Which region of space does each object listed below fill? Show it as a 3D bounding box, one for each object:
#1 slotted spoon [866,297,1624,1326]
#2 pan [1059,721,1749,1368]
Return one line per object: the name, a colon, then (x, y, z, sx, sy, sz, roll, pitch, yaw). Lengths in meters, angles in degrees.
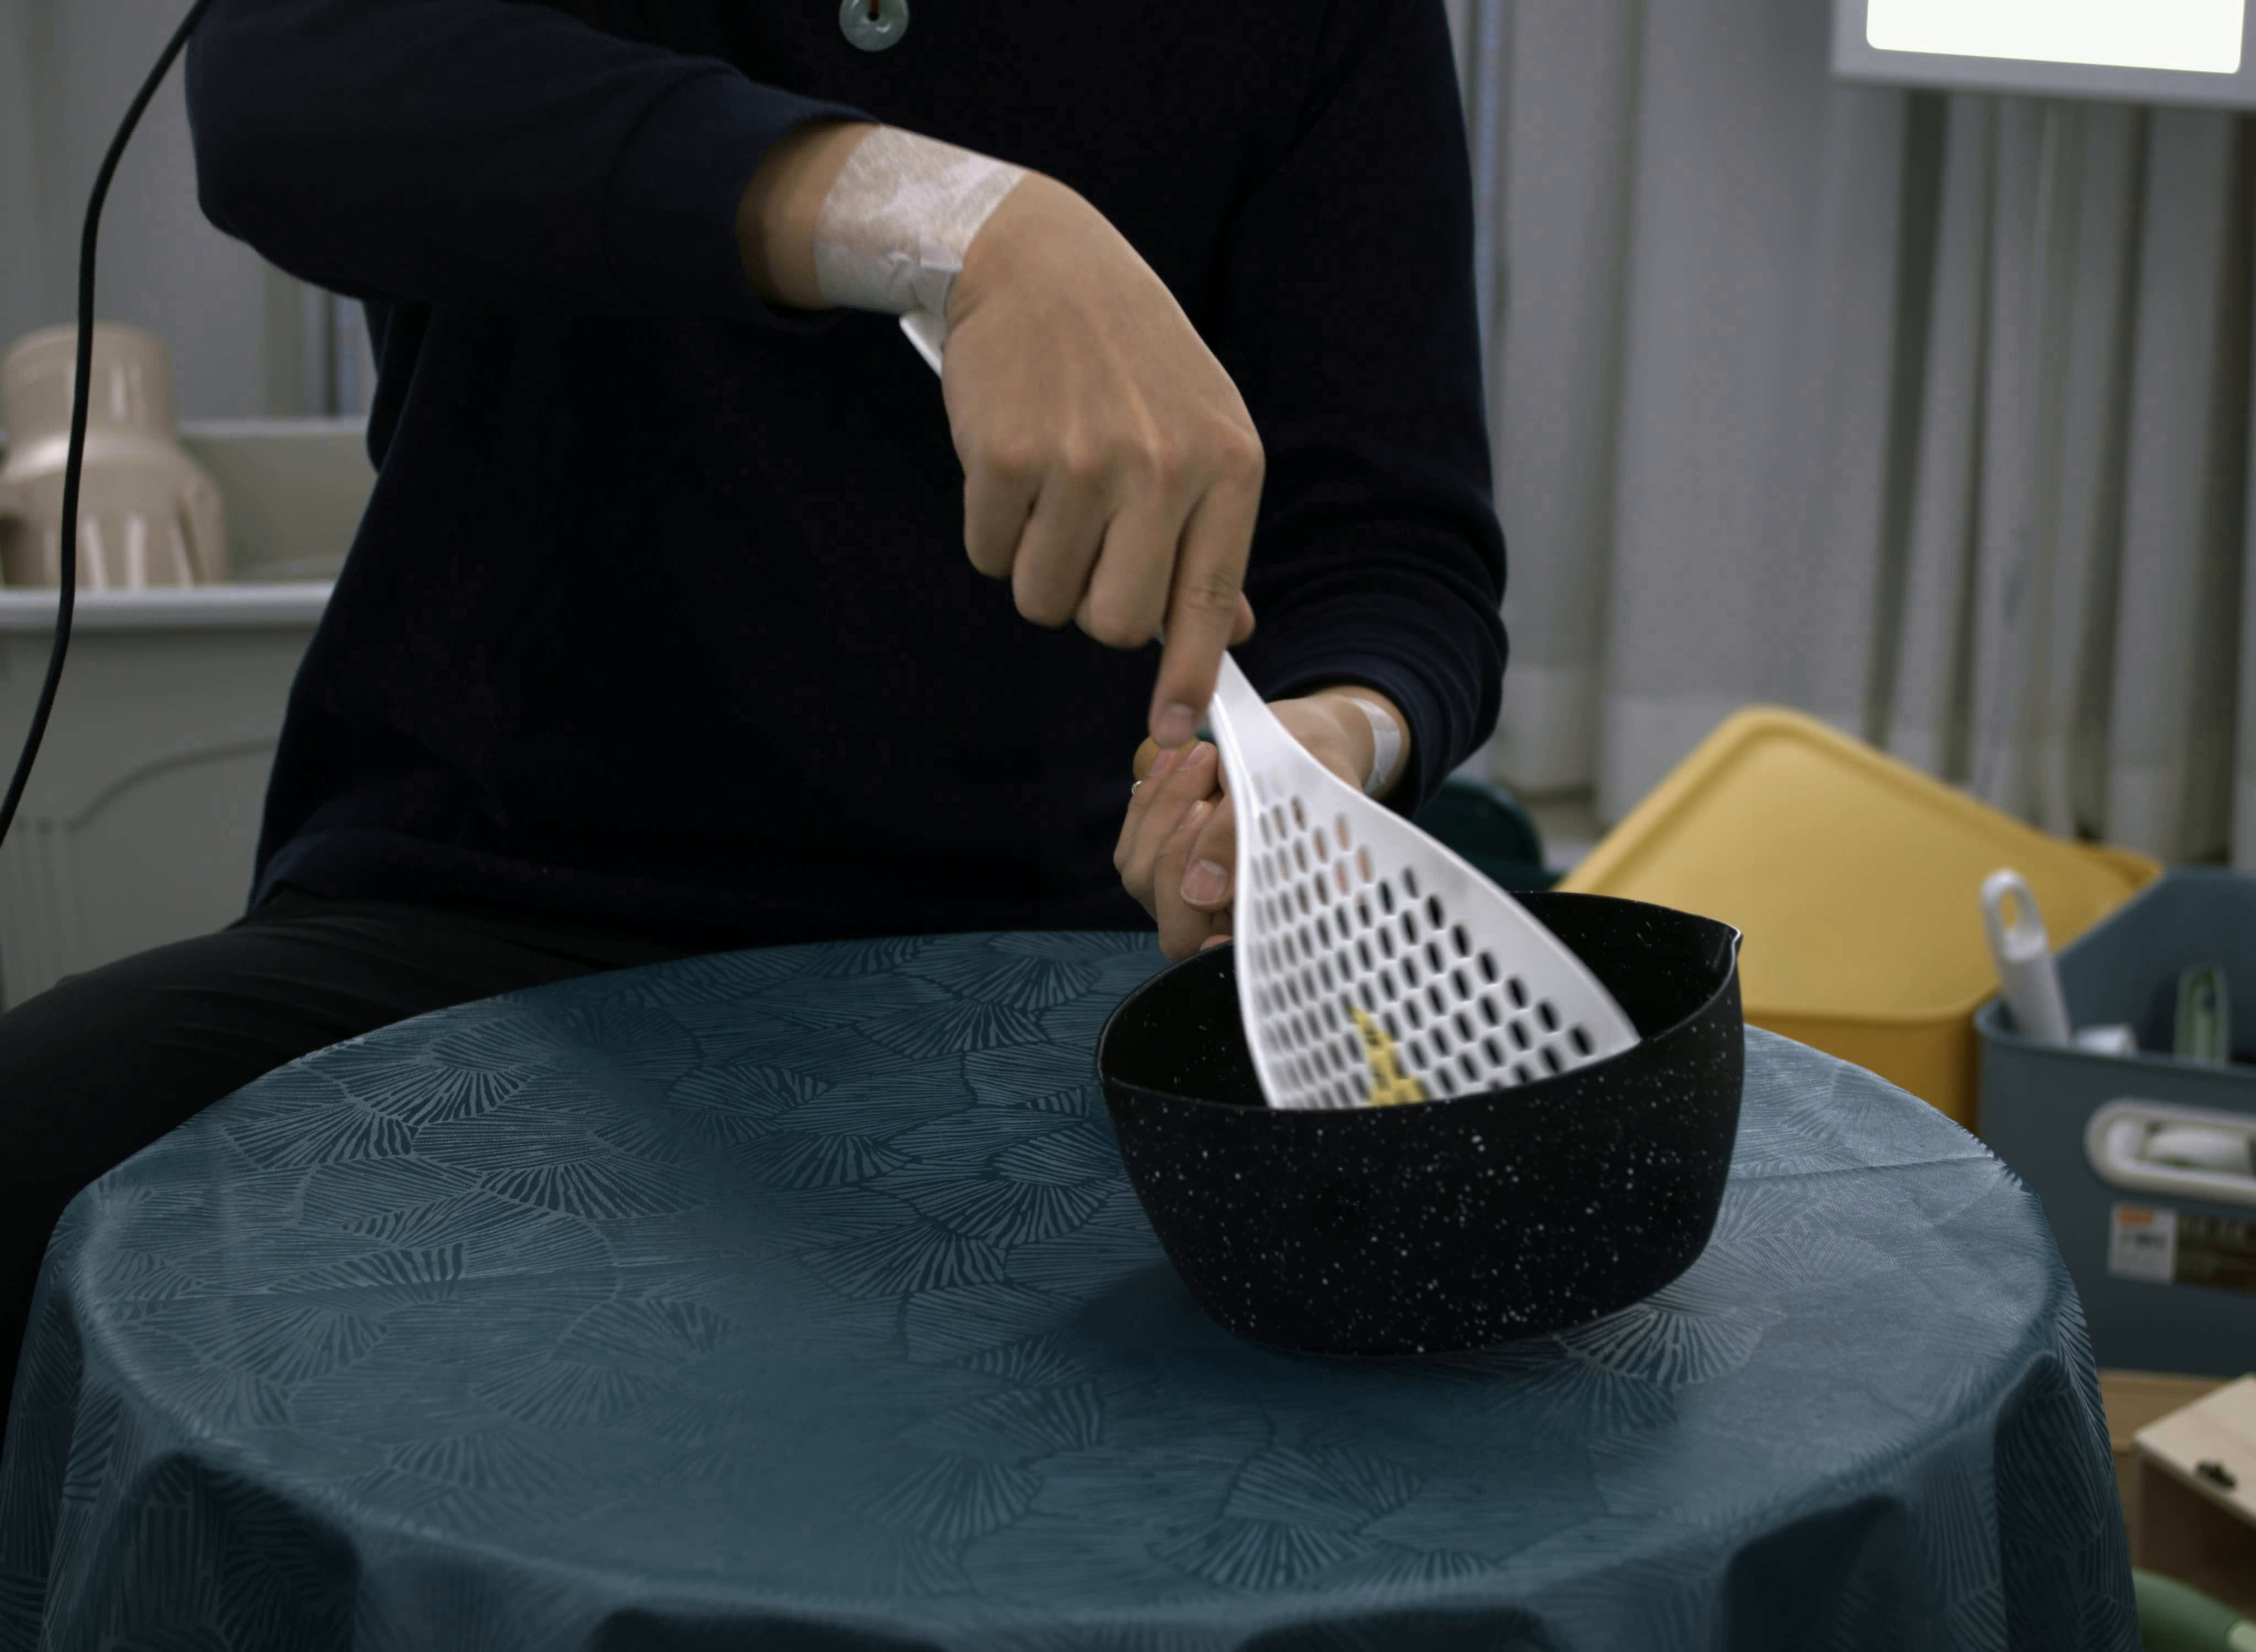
slotted spoon: (0.030, -0.012, 1.512, 0.137, 0.348, 0.050, -28, -1, -41)
pan: (0.064, 0.059, 1.592, 0.207, 0.109, 0.339, -13, 18, -14)
